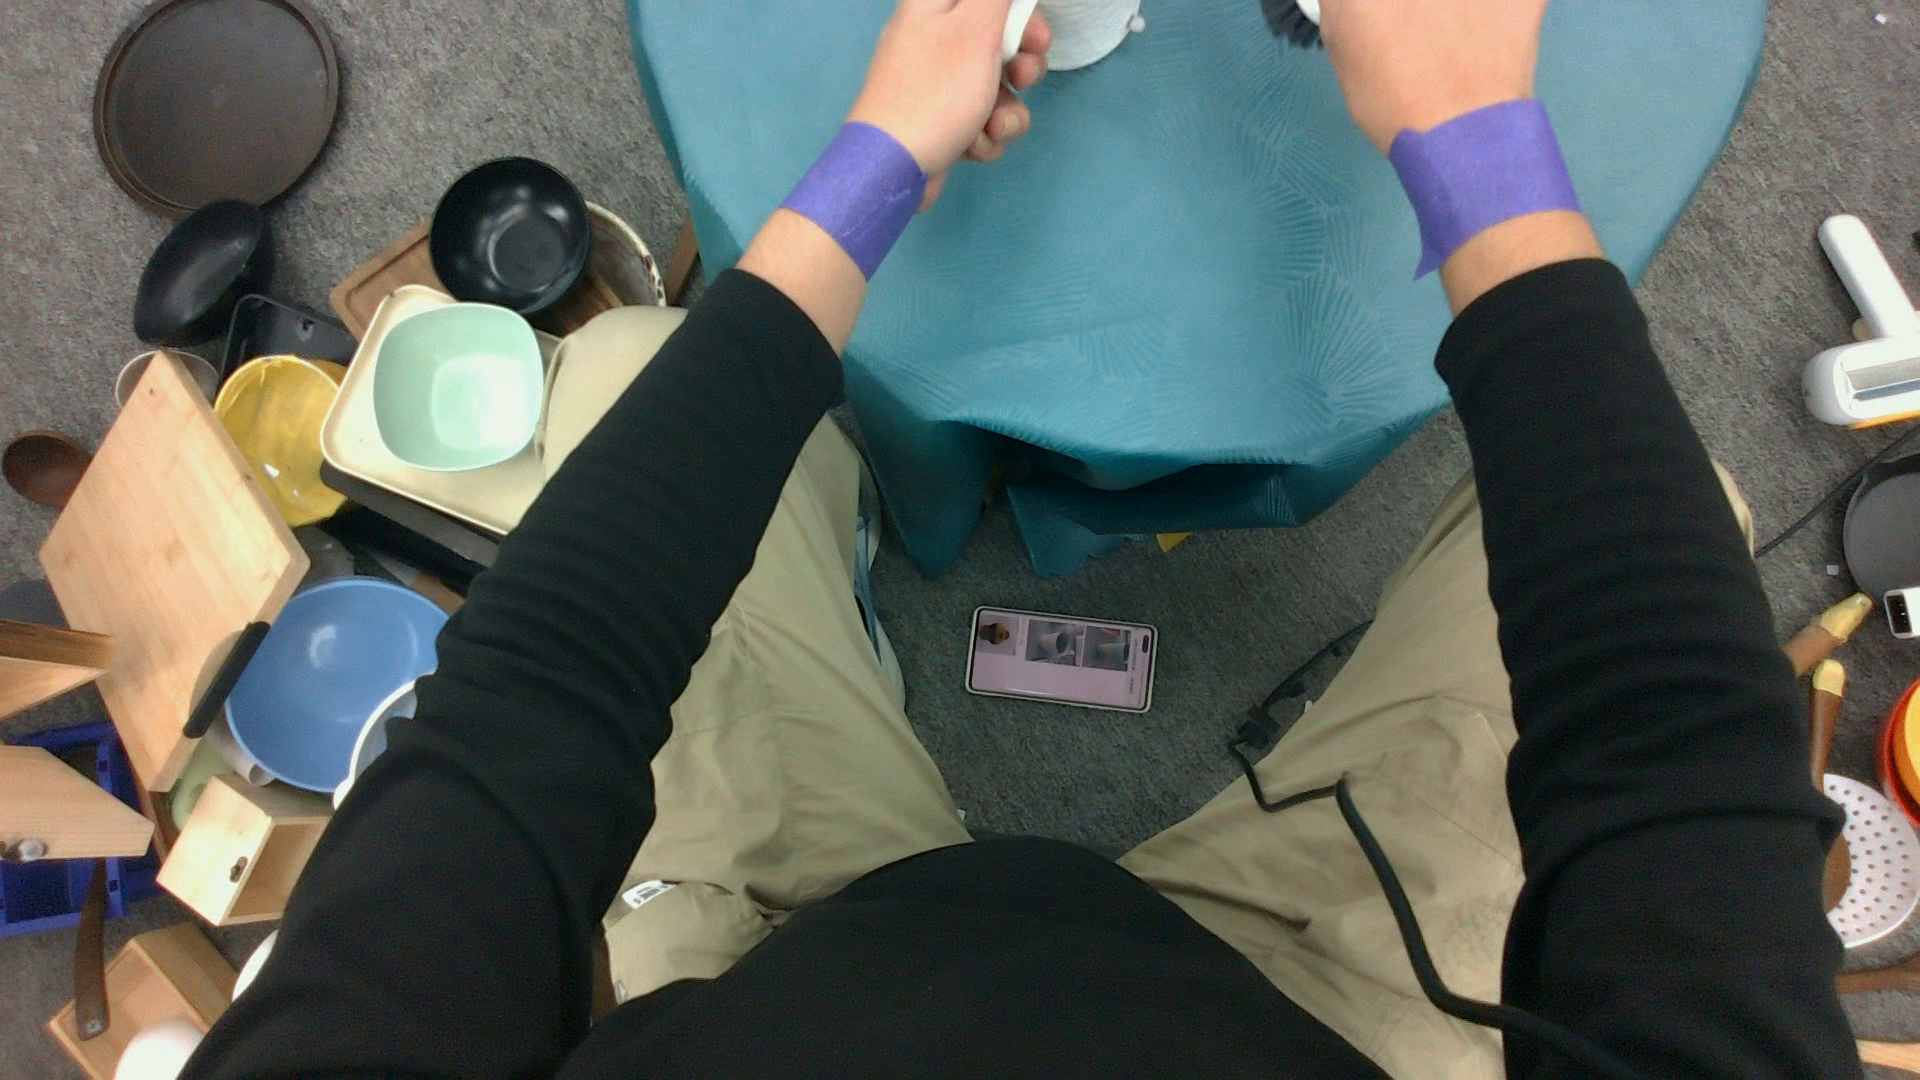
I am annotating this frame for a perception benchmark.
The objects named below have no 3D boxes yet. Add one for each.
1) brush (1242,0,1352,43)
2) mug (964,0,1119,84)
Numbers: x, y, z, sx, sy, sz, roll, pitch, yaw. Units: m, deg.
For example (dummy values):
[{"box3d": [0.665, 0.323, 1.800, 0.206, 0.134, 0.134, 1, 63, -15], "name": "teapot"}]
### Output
[{"box3d": [0.158, -0.286, 0.618, 0.050, 0.072, 0.099, -5, 87, -14], "name": "brush"}, {"box3d": [0.034, -0.280, 0.676, 0.085, 0.102, 0.118, 23, 86, 6], "name": "mug"}]
